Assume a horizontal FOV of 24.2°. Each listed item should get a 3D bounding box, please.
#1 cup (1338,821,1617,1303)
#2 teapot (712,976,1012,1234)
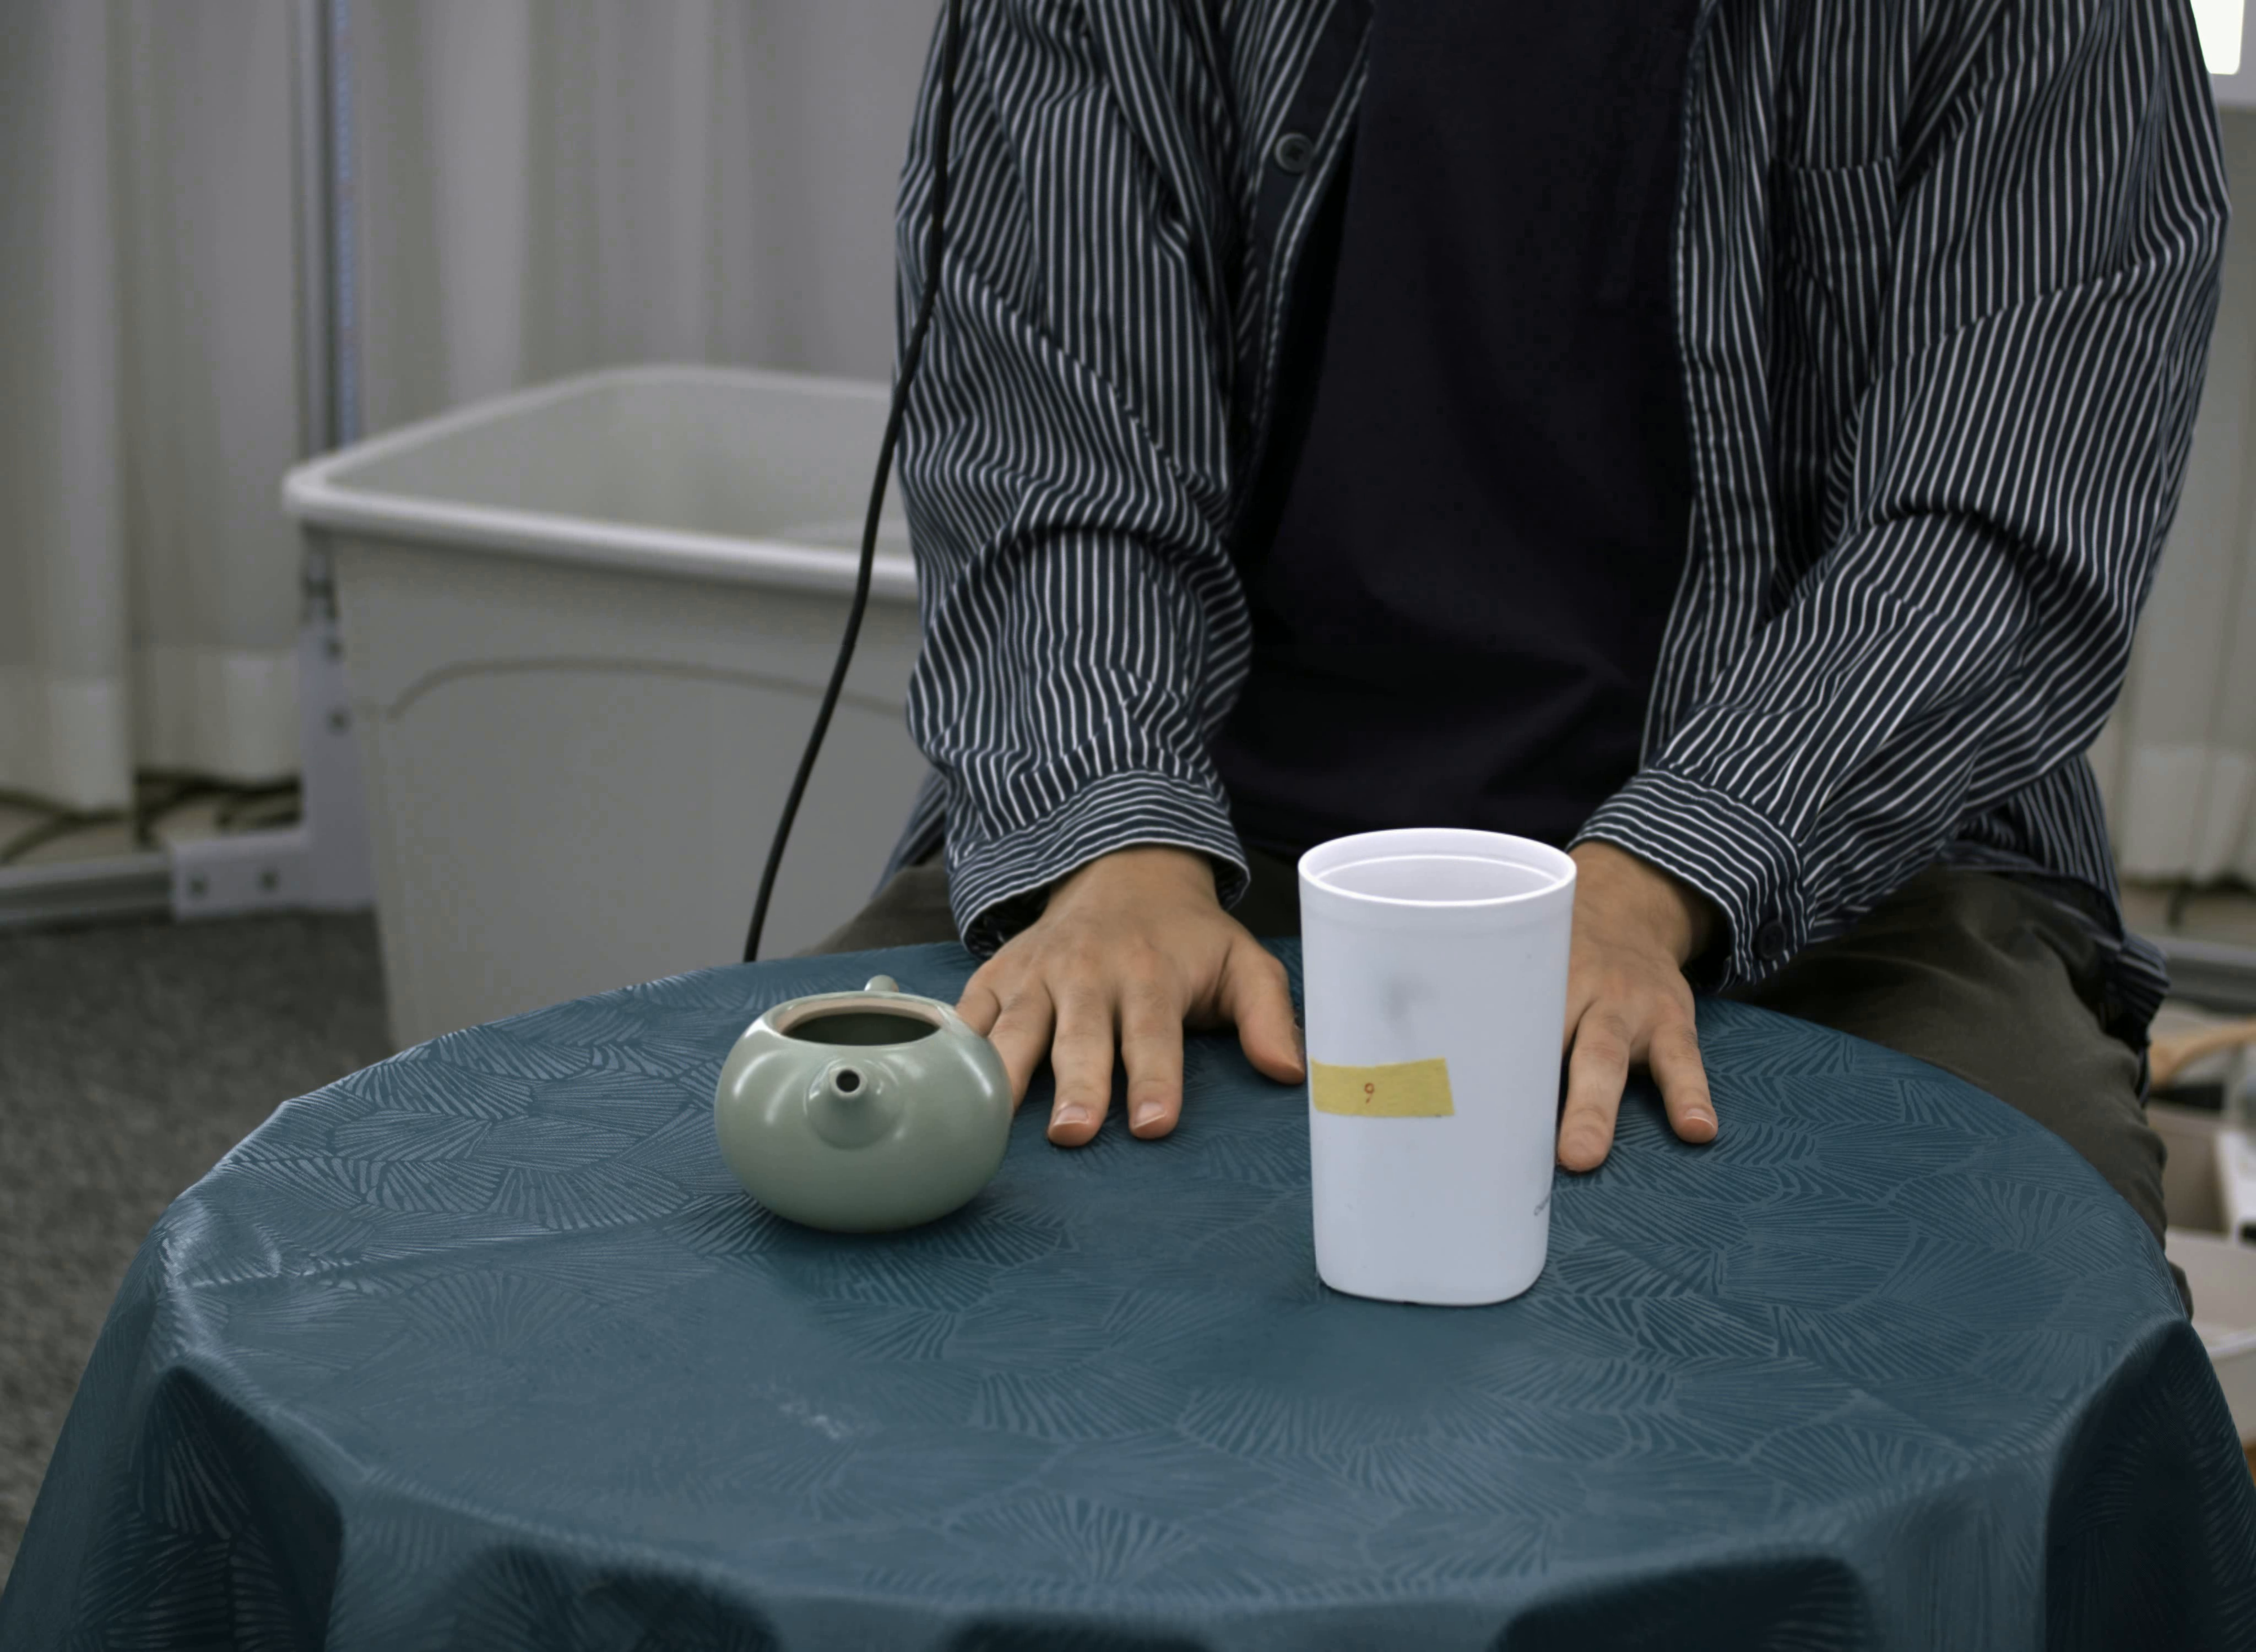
[{"bbox_3d":[0.101,0.069,1.541,0.081,0.126,0.081,0,16,0],"label":"cup"},{"bbox_3d":[-0.080,0.085,1.616,0.091,0.061,0.128,1,15,8],"label":"teapot"}]
